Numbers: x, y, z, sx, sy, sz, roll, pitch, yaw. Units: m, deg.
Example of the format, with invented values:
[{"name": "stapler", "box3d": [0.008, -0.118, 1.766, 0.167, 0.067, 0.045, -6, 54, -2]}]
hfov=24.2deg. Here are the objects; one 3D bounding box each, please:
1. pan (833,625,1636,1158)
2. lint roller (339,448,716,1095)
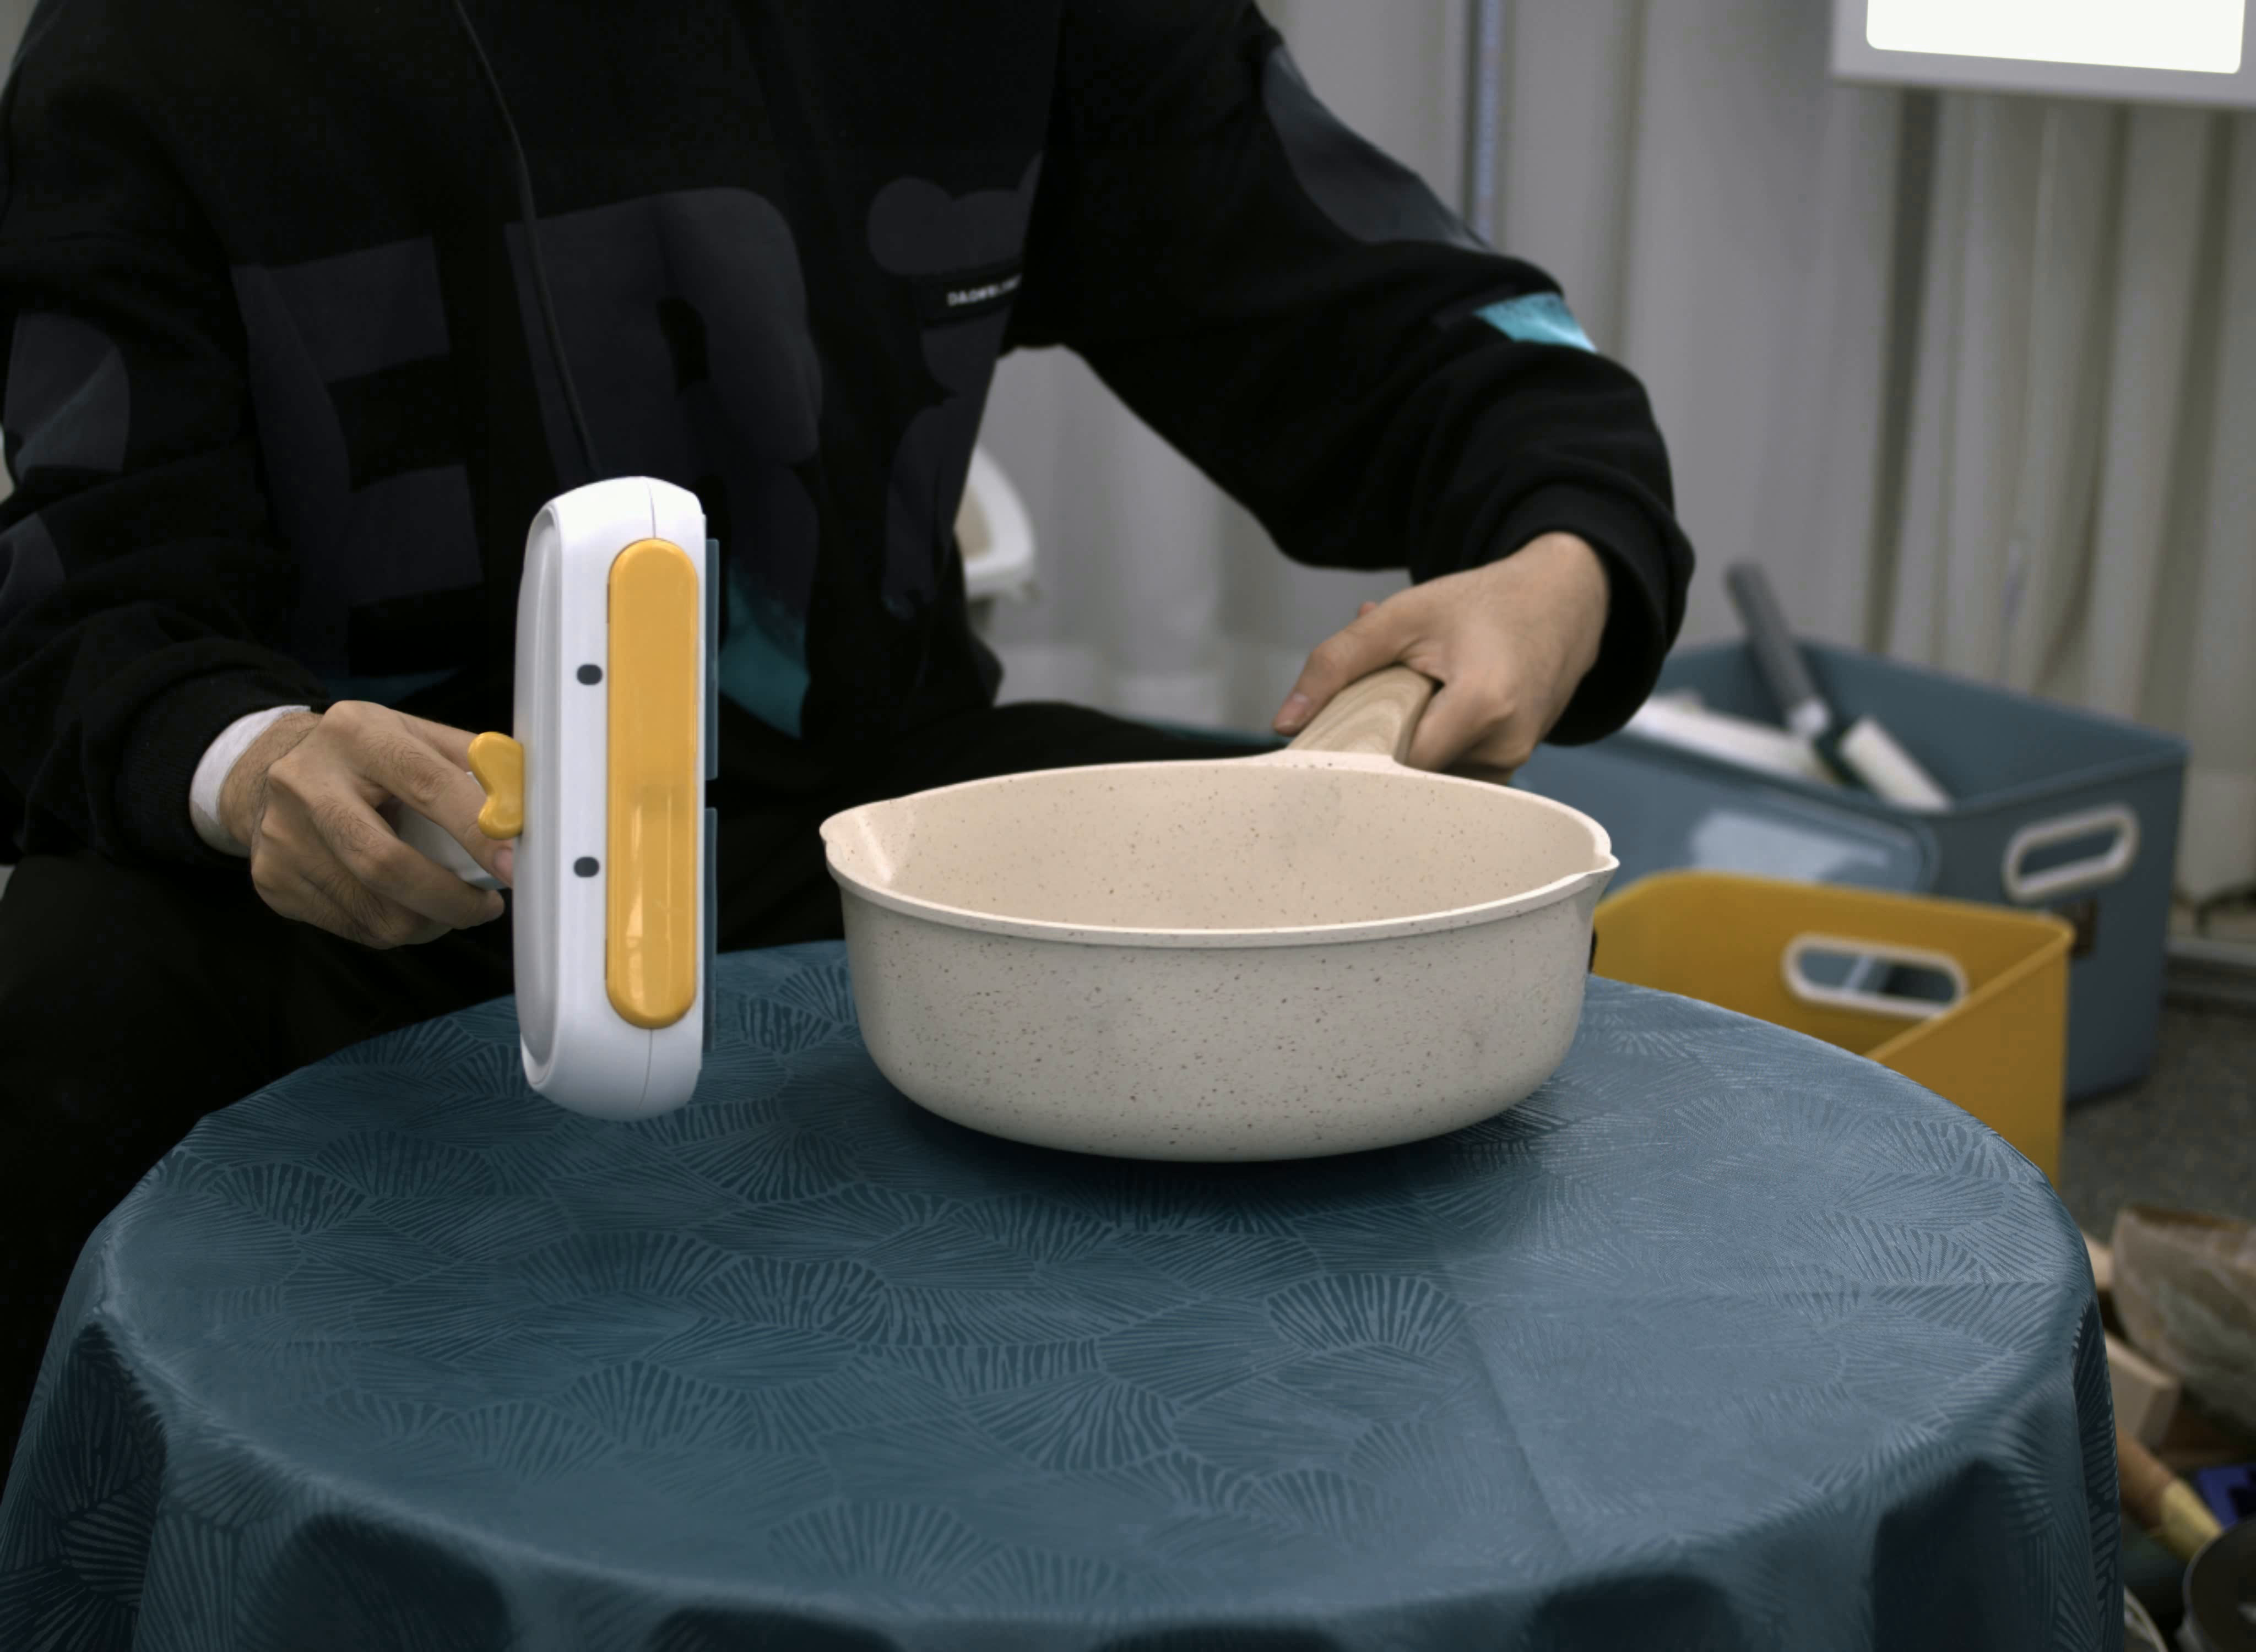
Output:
[{"name": "pan", "box3d": [0.060, 0.018, 1.774, 0.261, 0.103, 0.435, 1, 12, 16]}, {"name": "lint roller", "box3d": [-0.185, -0.005, 1.609, 0.074, 0.193, 0.191, -2, -11, -27]}]
